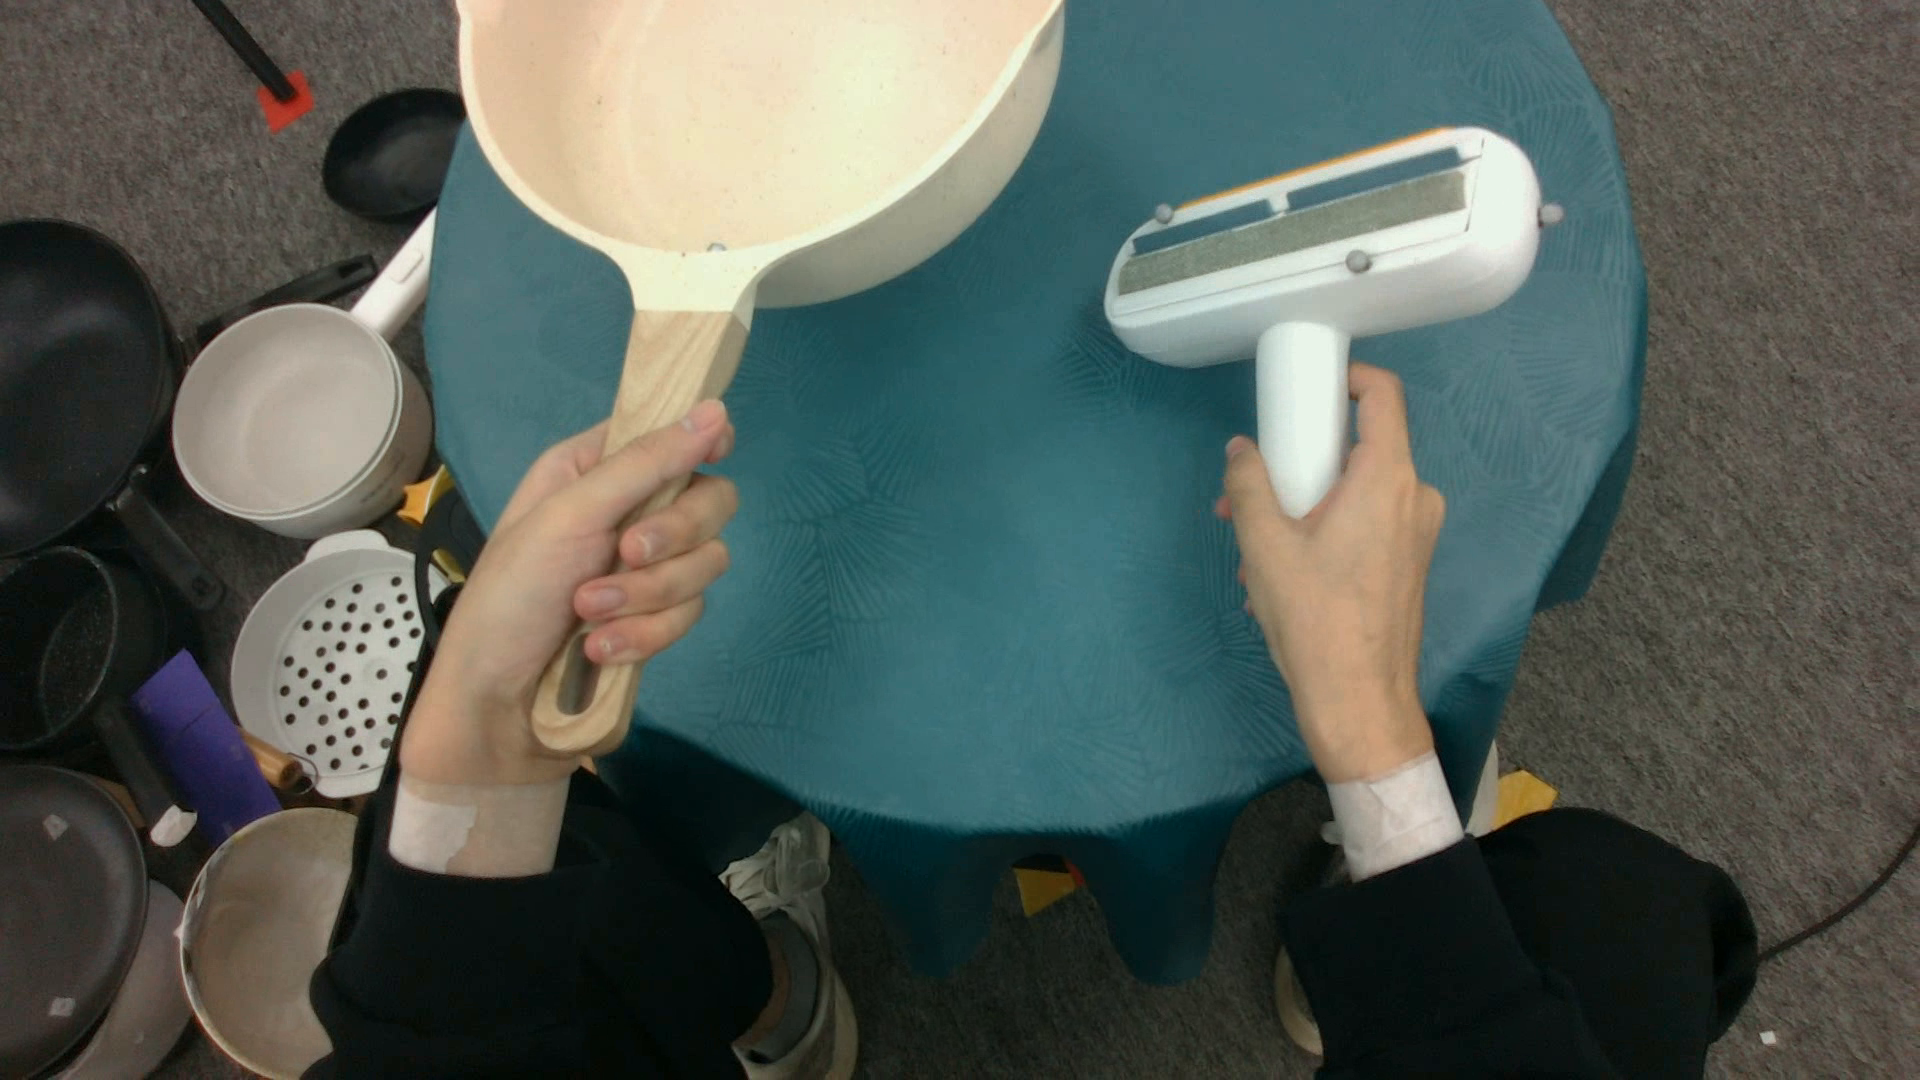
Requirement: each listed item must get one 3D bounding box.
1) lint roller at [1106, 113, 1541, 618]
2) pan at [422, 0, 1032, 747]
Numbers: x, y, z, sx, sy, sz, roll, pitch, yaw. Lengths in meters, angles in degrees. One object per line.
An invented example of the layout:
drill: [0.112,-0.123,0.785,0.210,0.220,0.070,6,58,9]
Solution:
lint roller: [0.136,-0.066,0.566,0.192,0.074,0.192,3,78,45]
pan: [-0.098,-0.132,0.548,0.263,0.102,0.436,3,75,12]
